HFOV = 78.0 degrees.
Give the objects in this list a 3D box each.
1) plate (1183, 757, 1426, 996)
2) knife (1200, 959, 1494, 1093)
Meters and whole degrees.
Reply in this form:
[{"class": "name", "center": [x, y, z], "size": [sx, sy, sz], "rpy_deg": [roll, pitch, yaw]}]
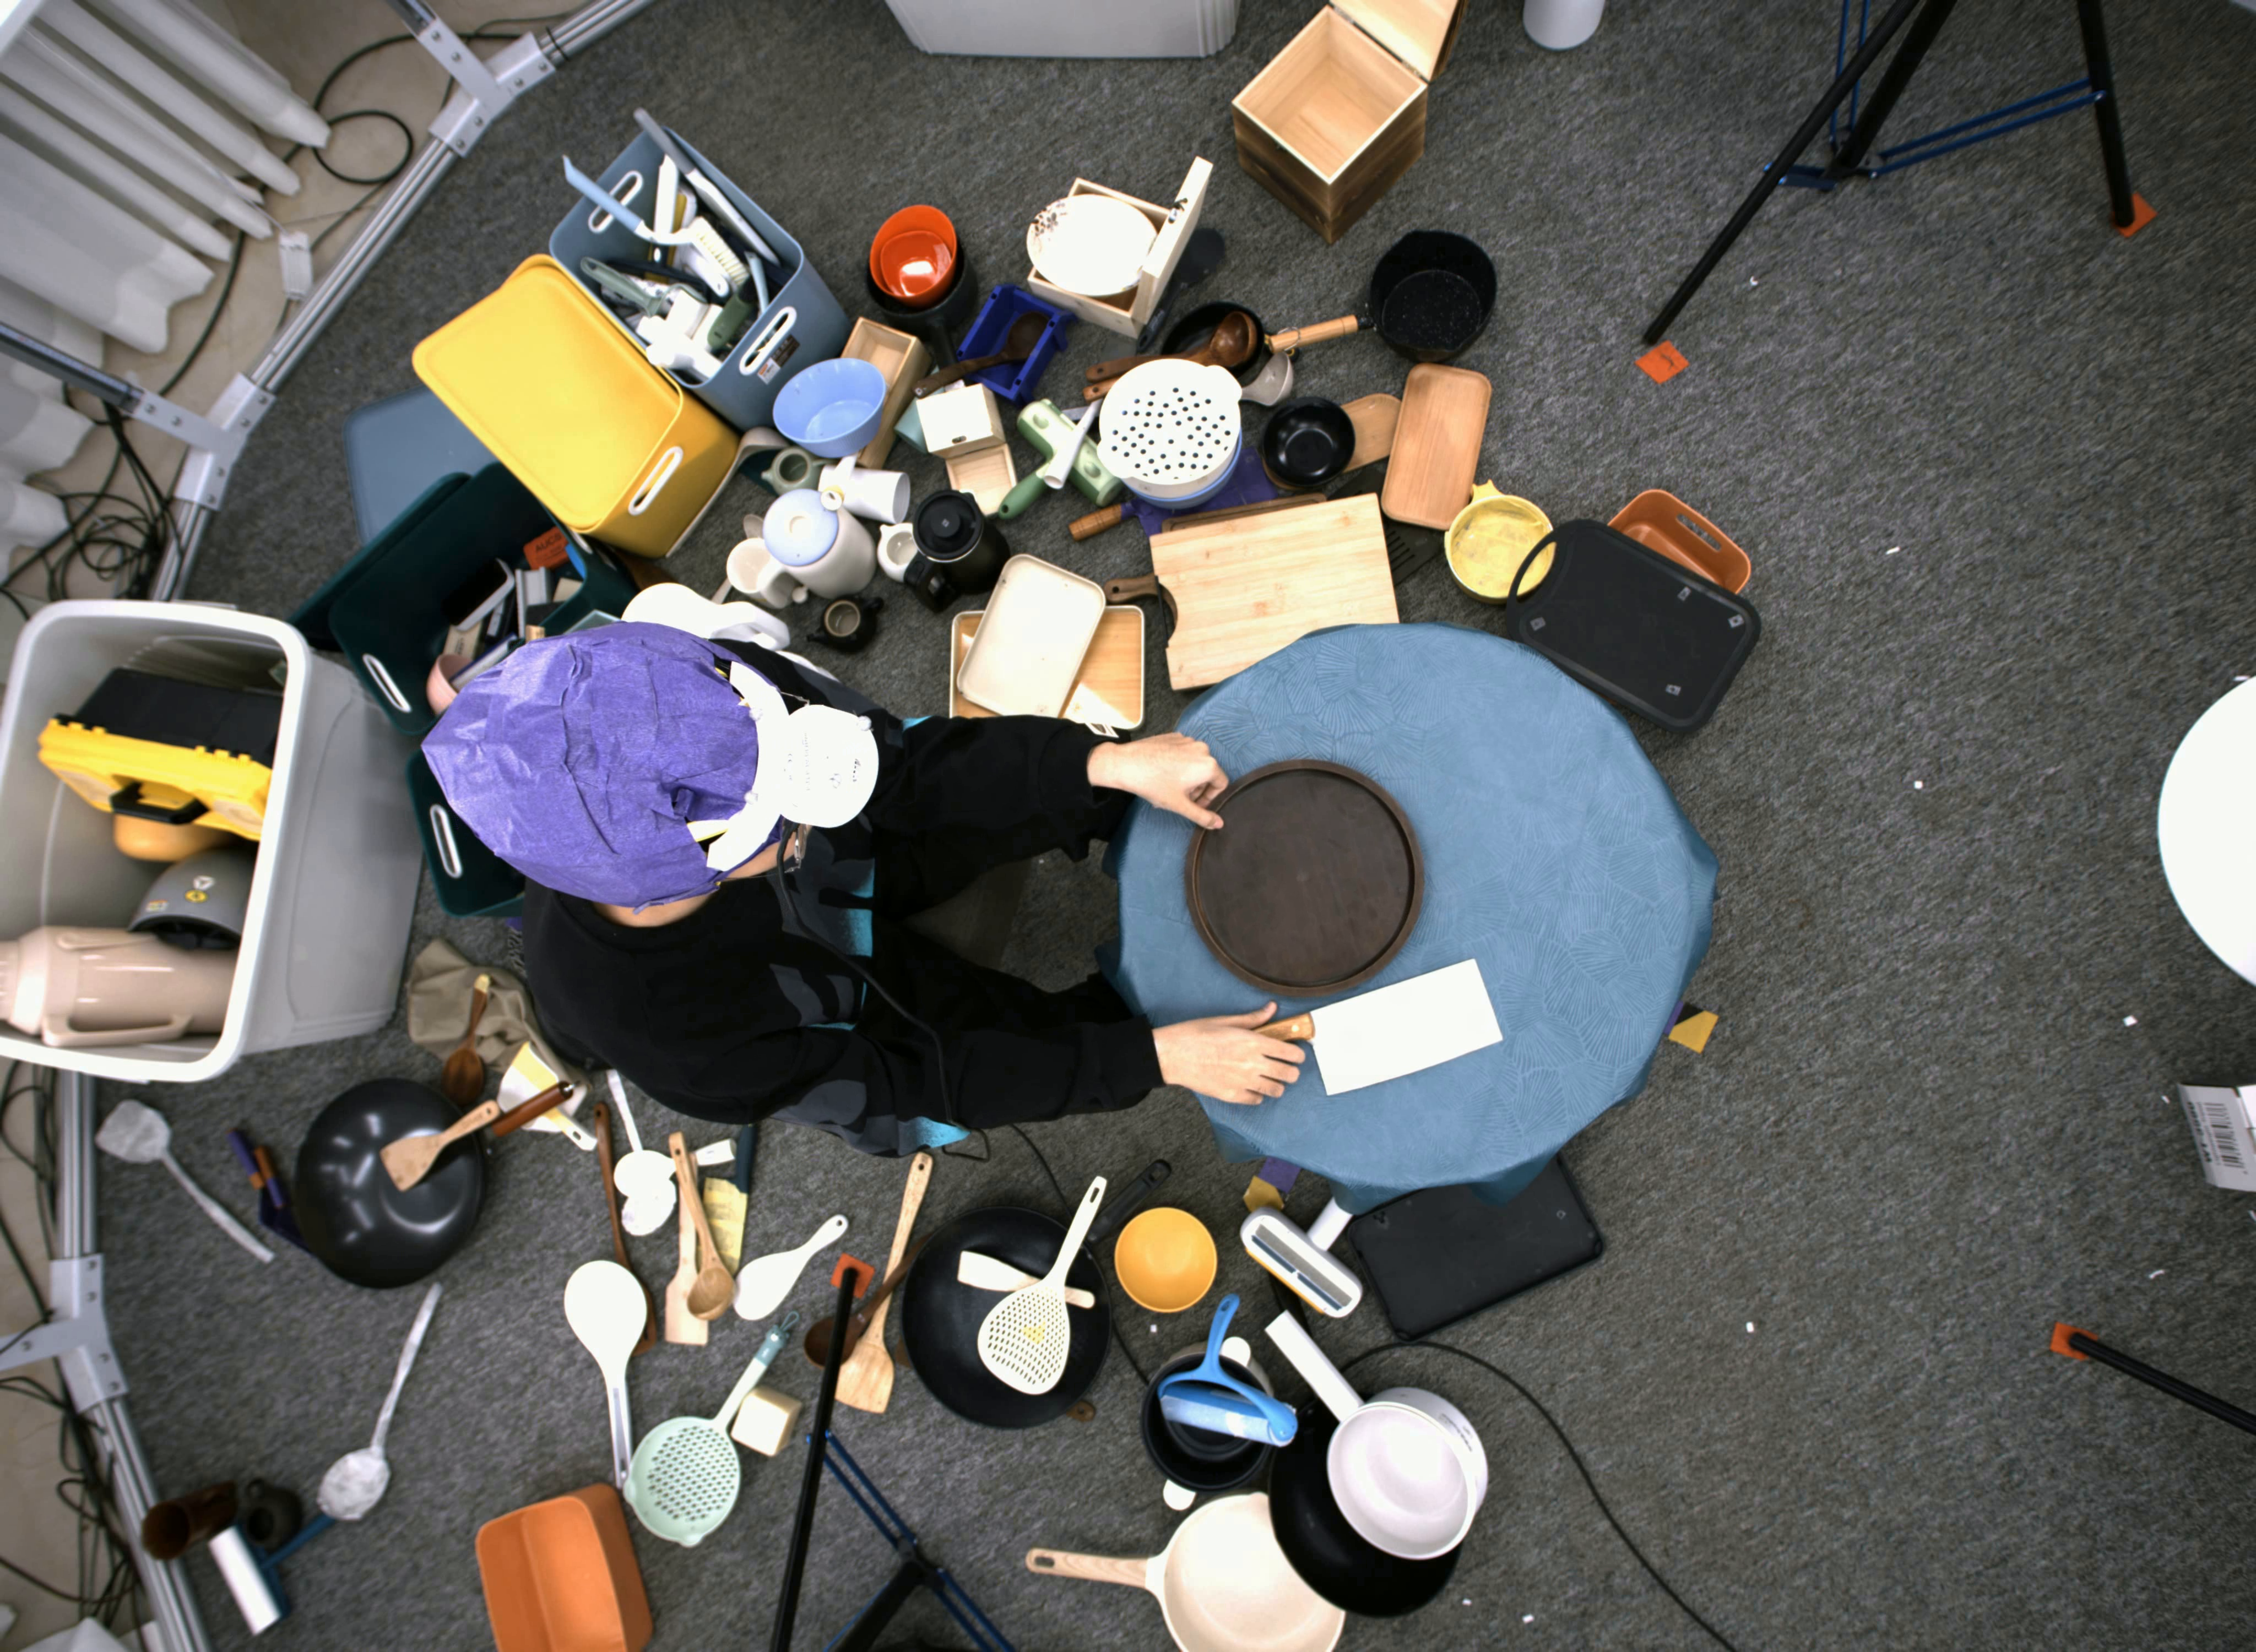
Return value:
[{"class": "plate", "center": [0.185, 0.052, 1.464], "size": [0.256, 0.029, 0.253], "rpy_deg": [-1, 85, 11]}, {"class": "knife", "center": [0.231, 0.225, 1.451], "size": [0.307, 0.021, 0.092], "rpy_deg": [-19, 85, 7]}]
